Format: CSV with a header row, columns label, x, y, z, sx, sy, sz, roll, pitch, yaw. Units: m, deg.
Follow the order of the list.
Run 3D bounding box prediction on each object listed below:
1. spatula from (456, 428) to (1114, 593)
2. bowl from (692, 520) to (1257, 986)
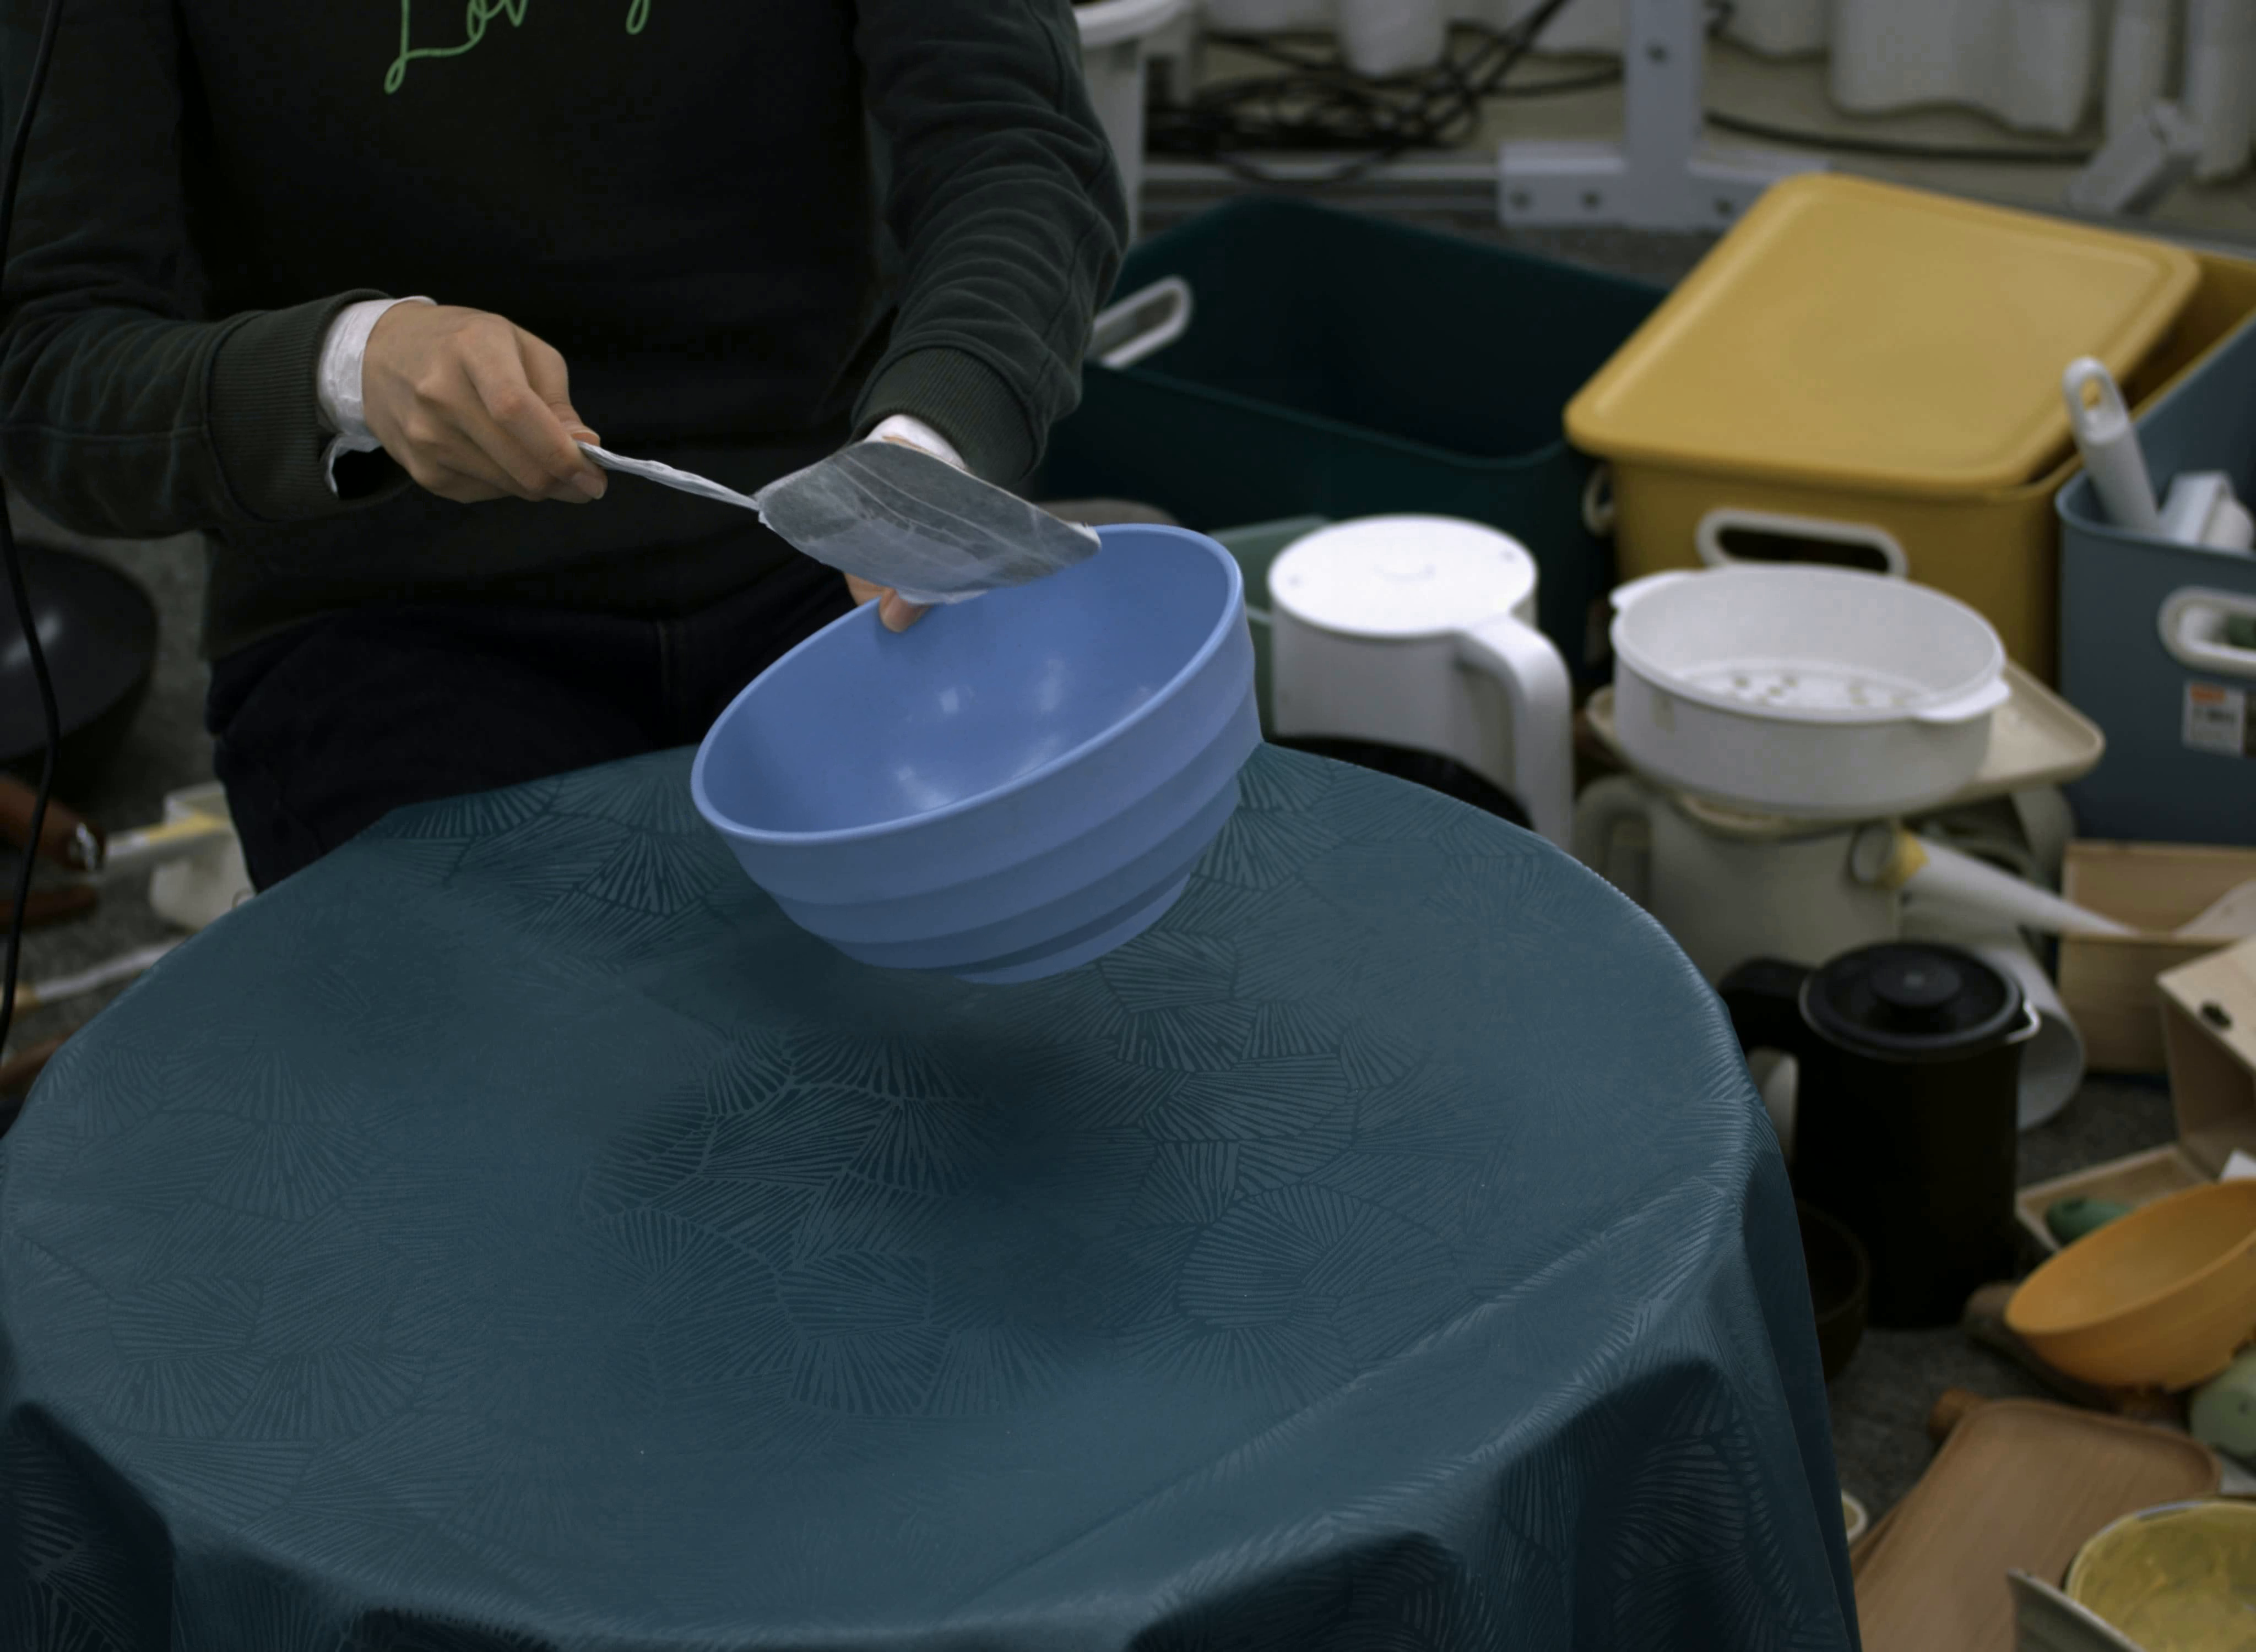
label,x,y,z,sx,sy,sz,roll,pitch,yaw
spatula,-0.139,-0.117,1.907,0.098,0.045,0.364,24,-4,-35
bowl,-0.038,-0.011,1.874,0.195,0.094,0.199,-20,25,10
